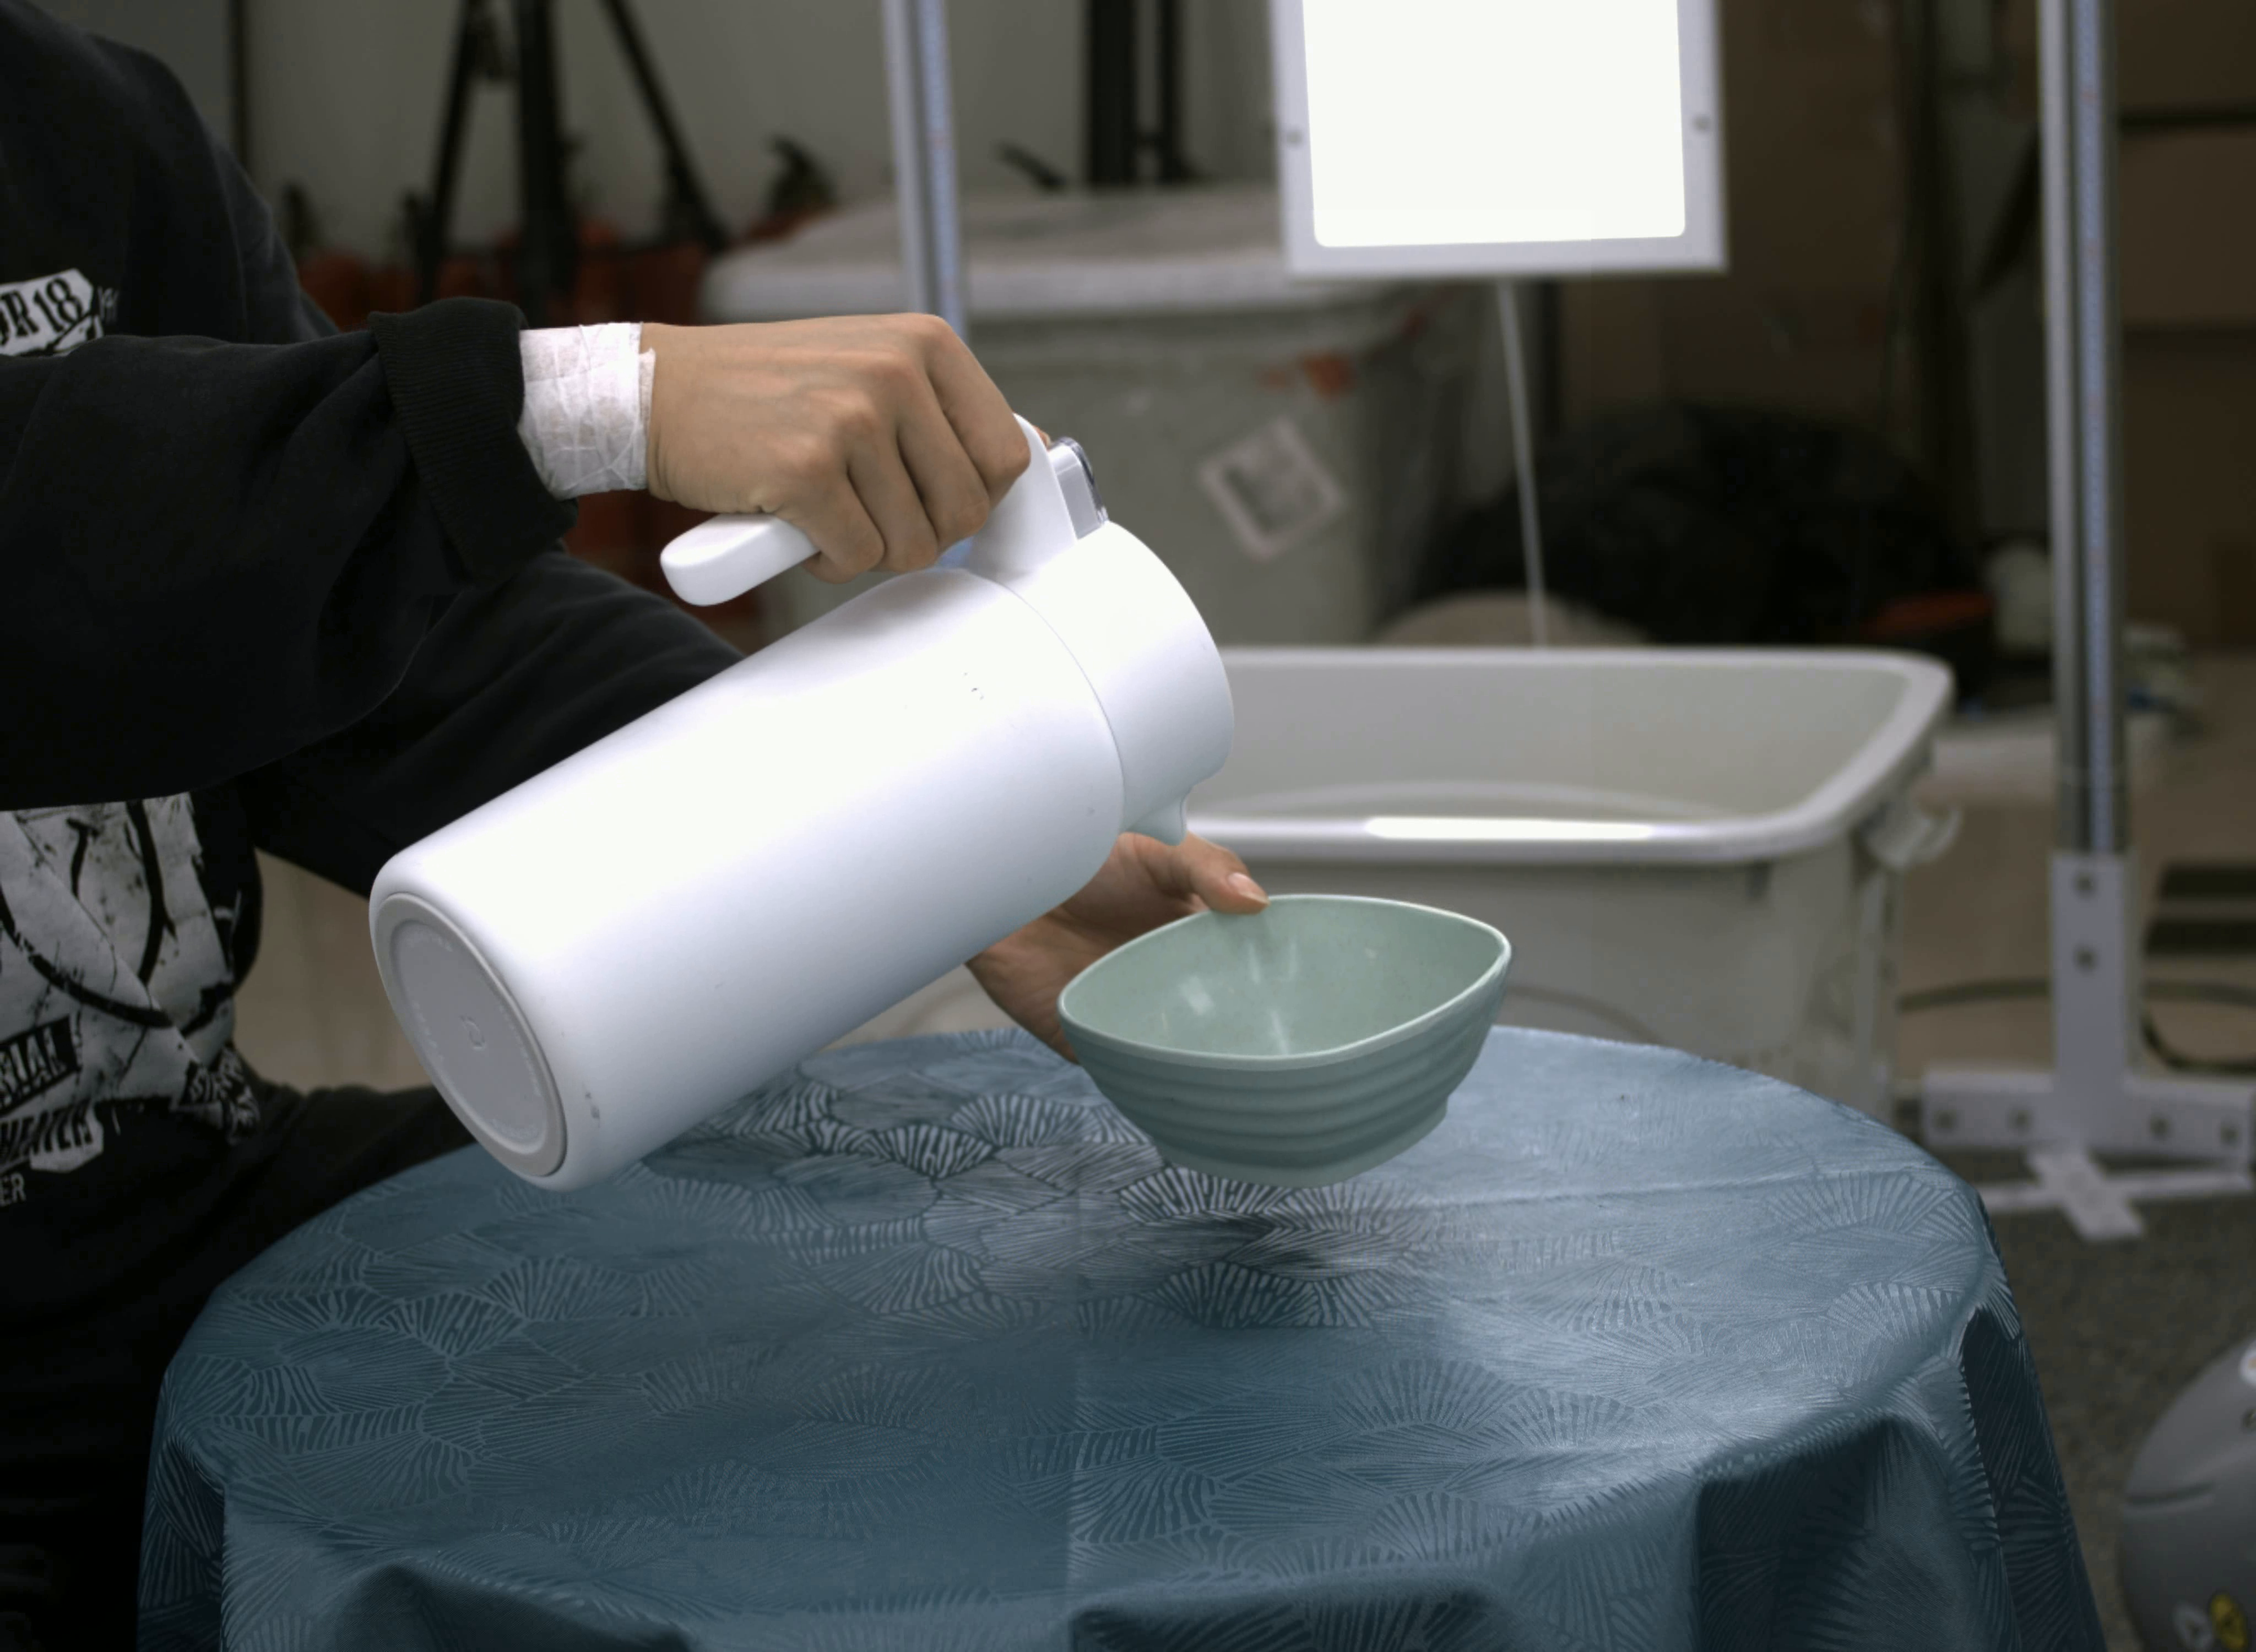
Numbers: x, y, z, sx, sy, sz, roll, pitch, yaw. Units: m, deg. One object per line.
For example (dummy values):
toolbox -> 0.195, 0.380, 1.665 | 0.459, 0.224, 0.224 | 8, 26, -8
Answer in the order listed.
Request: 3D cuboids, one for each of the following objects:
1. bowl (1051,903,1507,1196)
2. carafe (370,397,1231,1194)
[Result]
bowl -> 0.053, 0.077, 1.811 | 0.151, 0.059, 0.151 | -8, 19, 1
carafe -> -0.102, -0.013, 1.707 | 0.264, 0.172, 0.126 | -30, 27, -23
